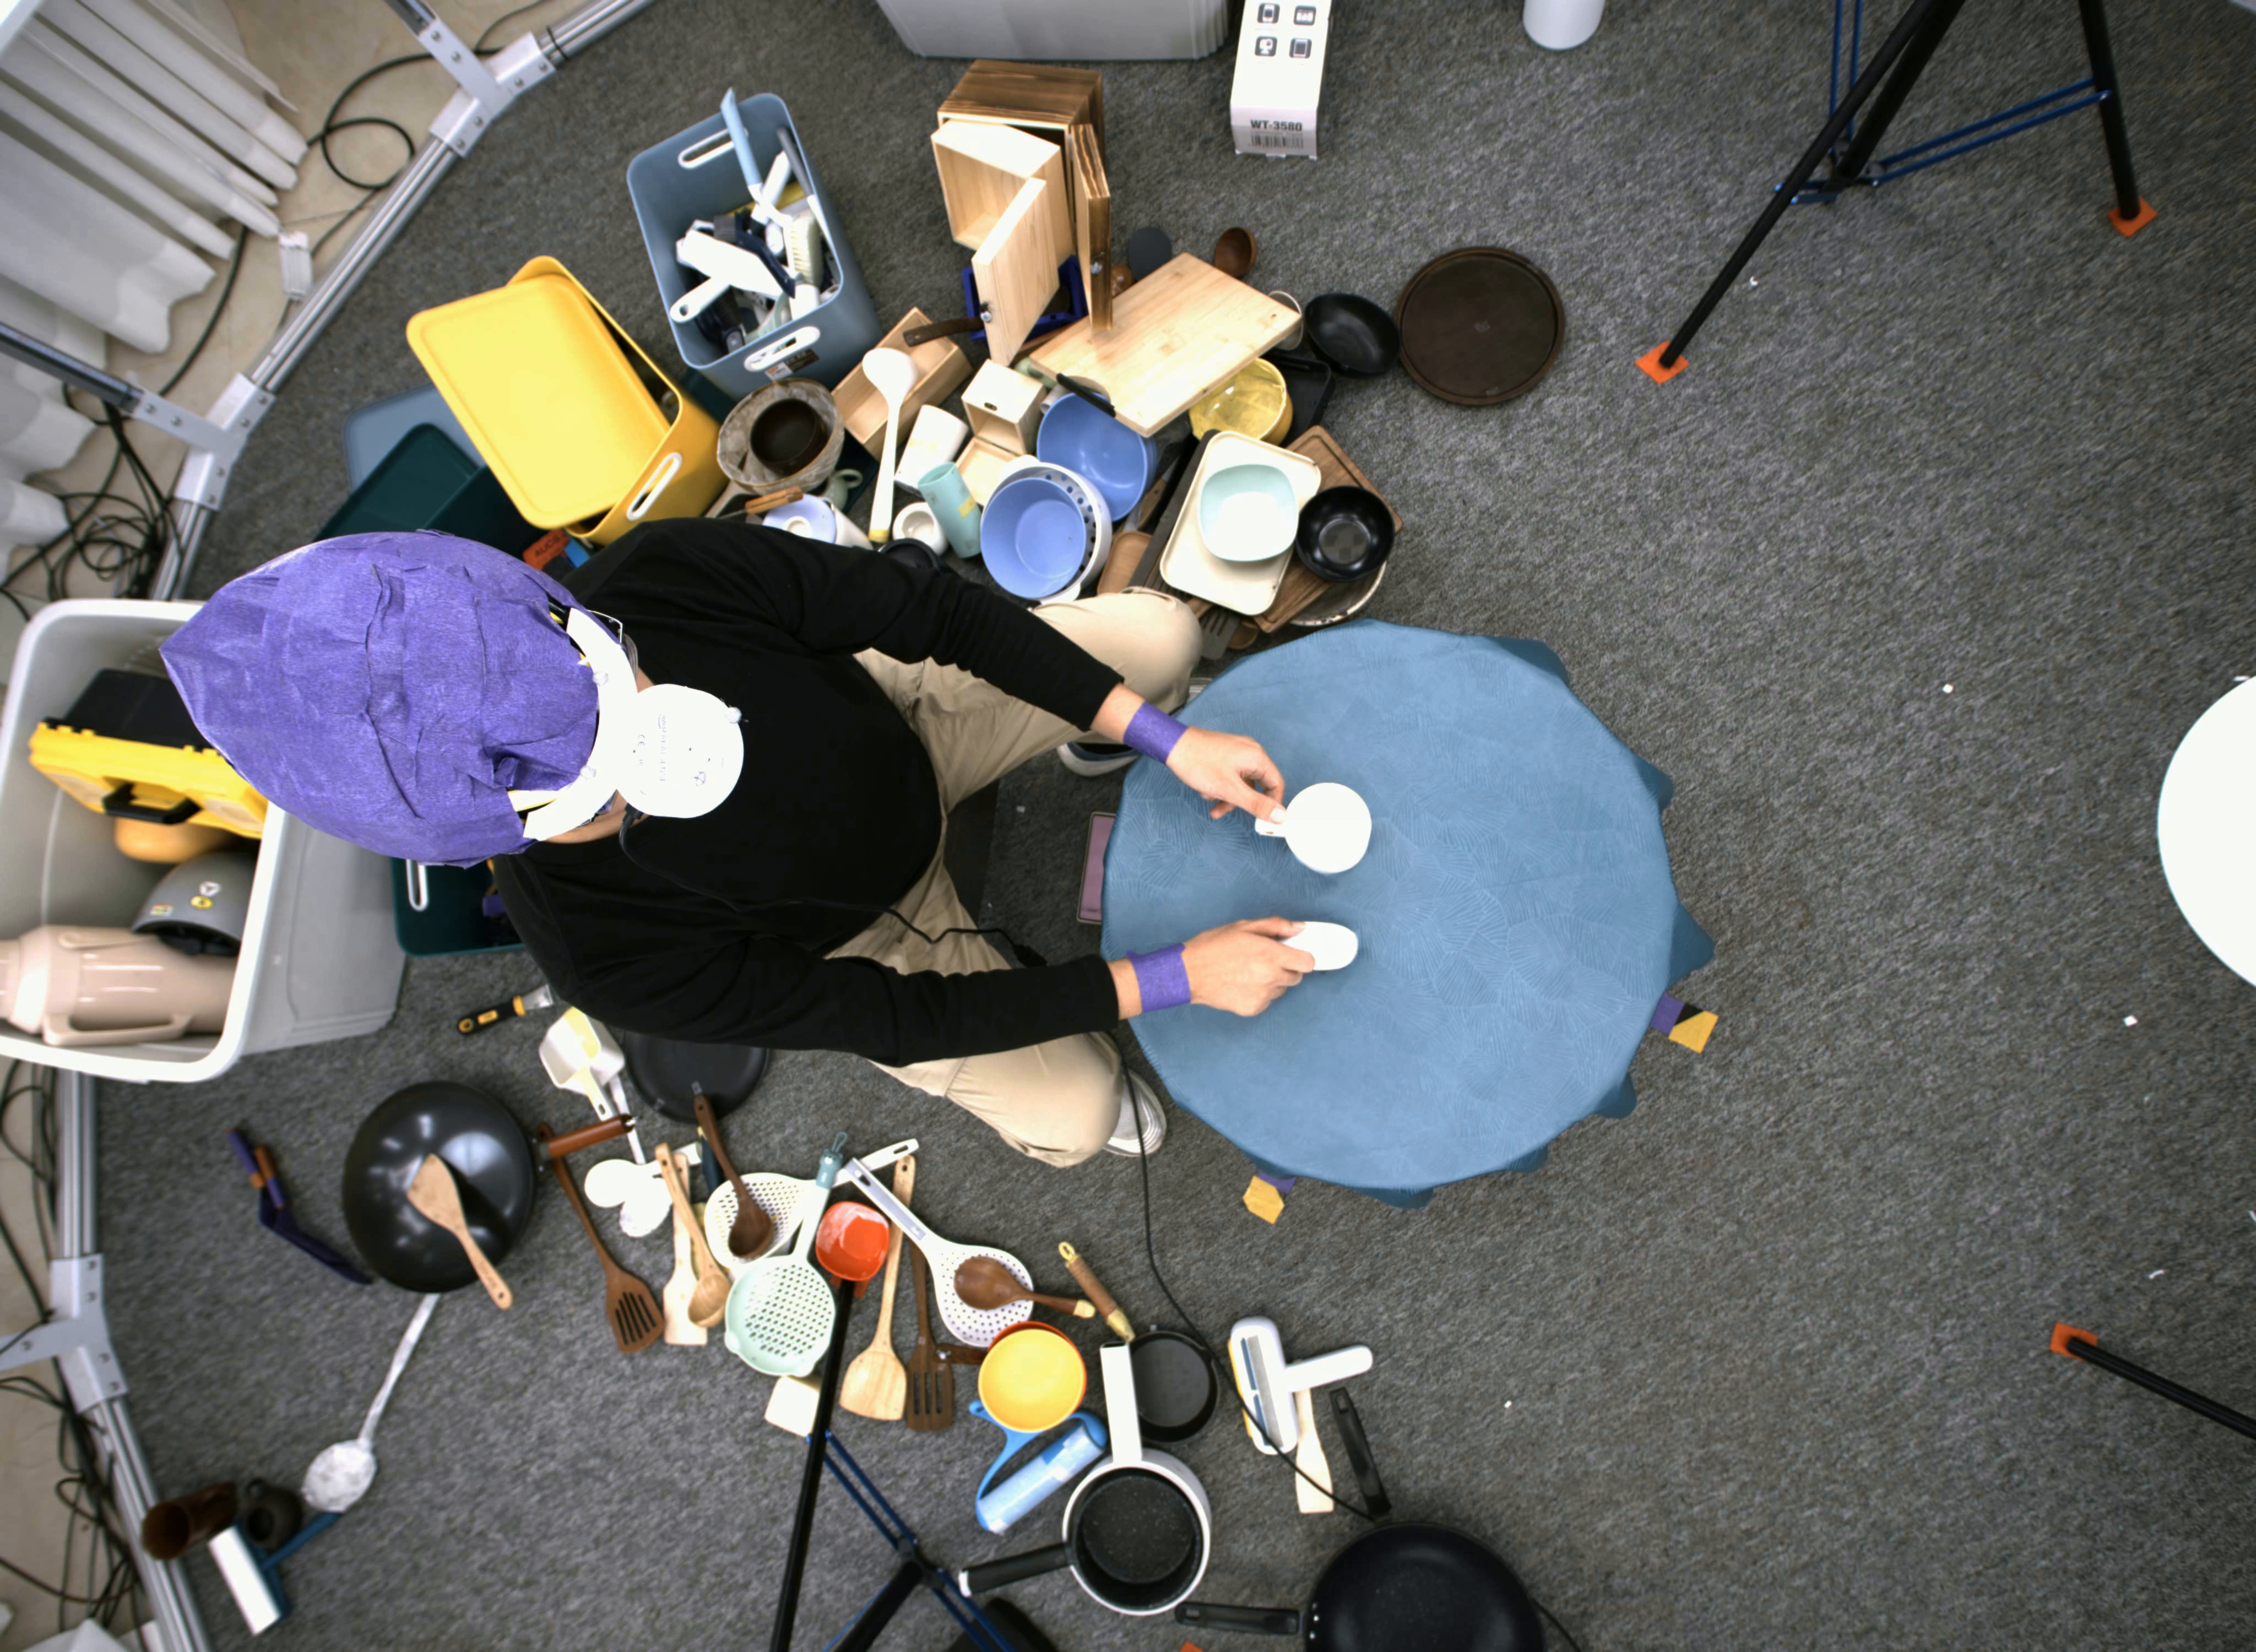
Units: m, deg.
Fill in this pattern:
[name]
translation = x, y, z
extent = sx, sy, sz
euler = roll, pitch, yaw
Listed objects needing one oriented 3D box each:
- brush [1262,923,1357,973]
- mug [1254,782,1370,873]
[brush]
translation = 0.187, 0.124, 1.434
extent = 0.099, 0.073, 0.050
euler = 4, 84, 9
[mug]
translation = 0.190, 0.002, 1.425
extent = 0.118, 0.102, 0.084
euler = 3, 85, 11
